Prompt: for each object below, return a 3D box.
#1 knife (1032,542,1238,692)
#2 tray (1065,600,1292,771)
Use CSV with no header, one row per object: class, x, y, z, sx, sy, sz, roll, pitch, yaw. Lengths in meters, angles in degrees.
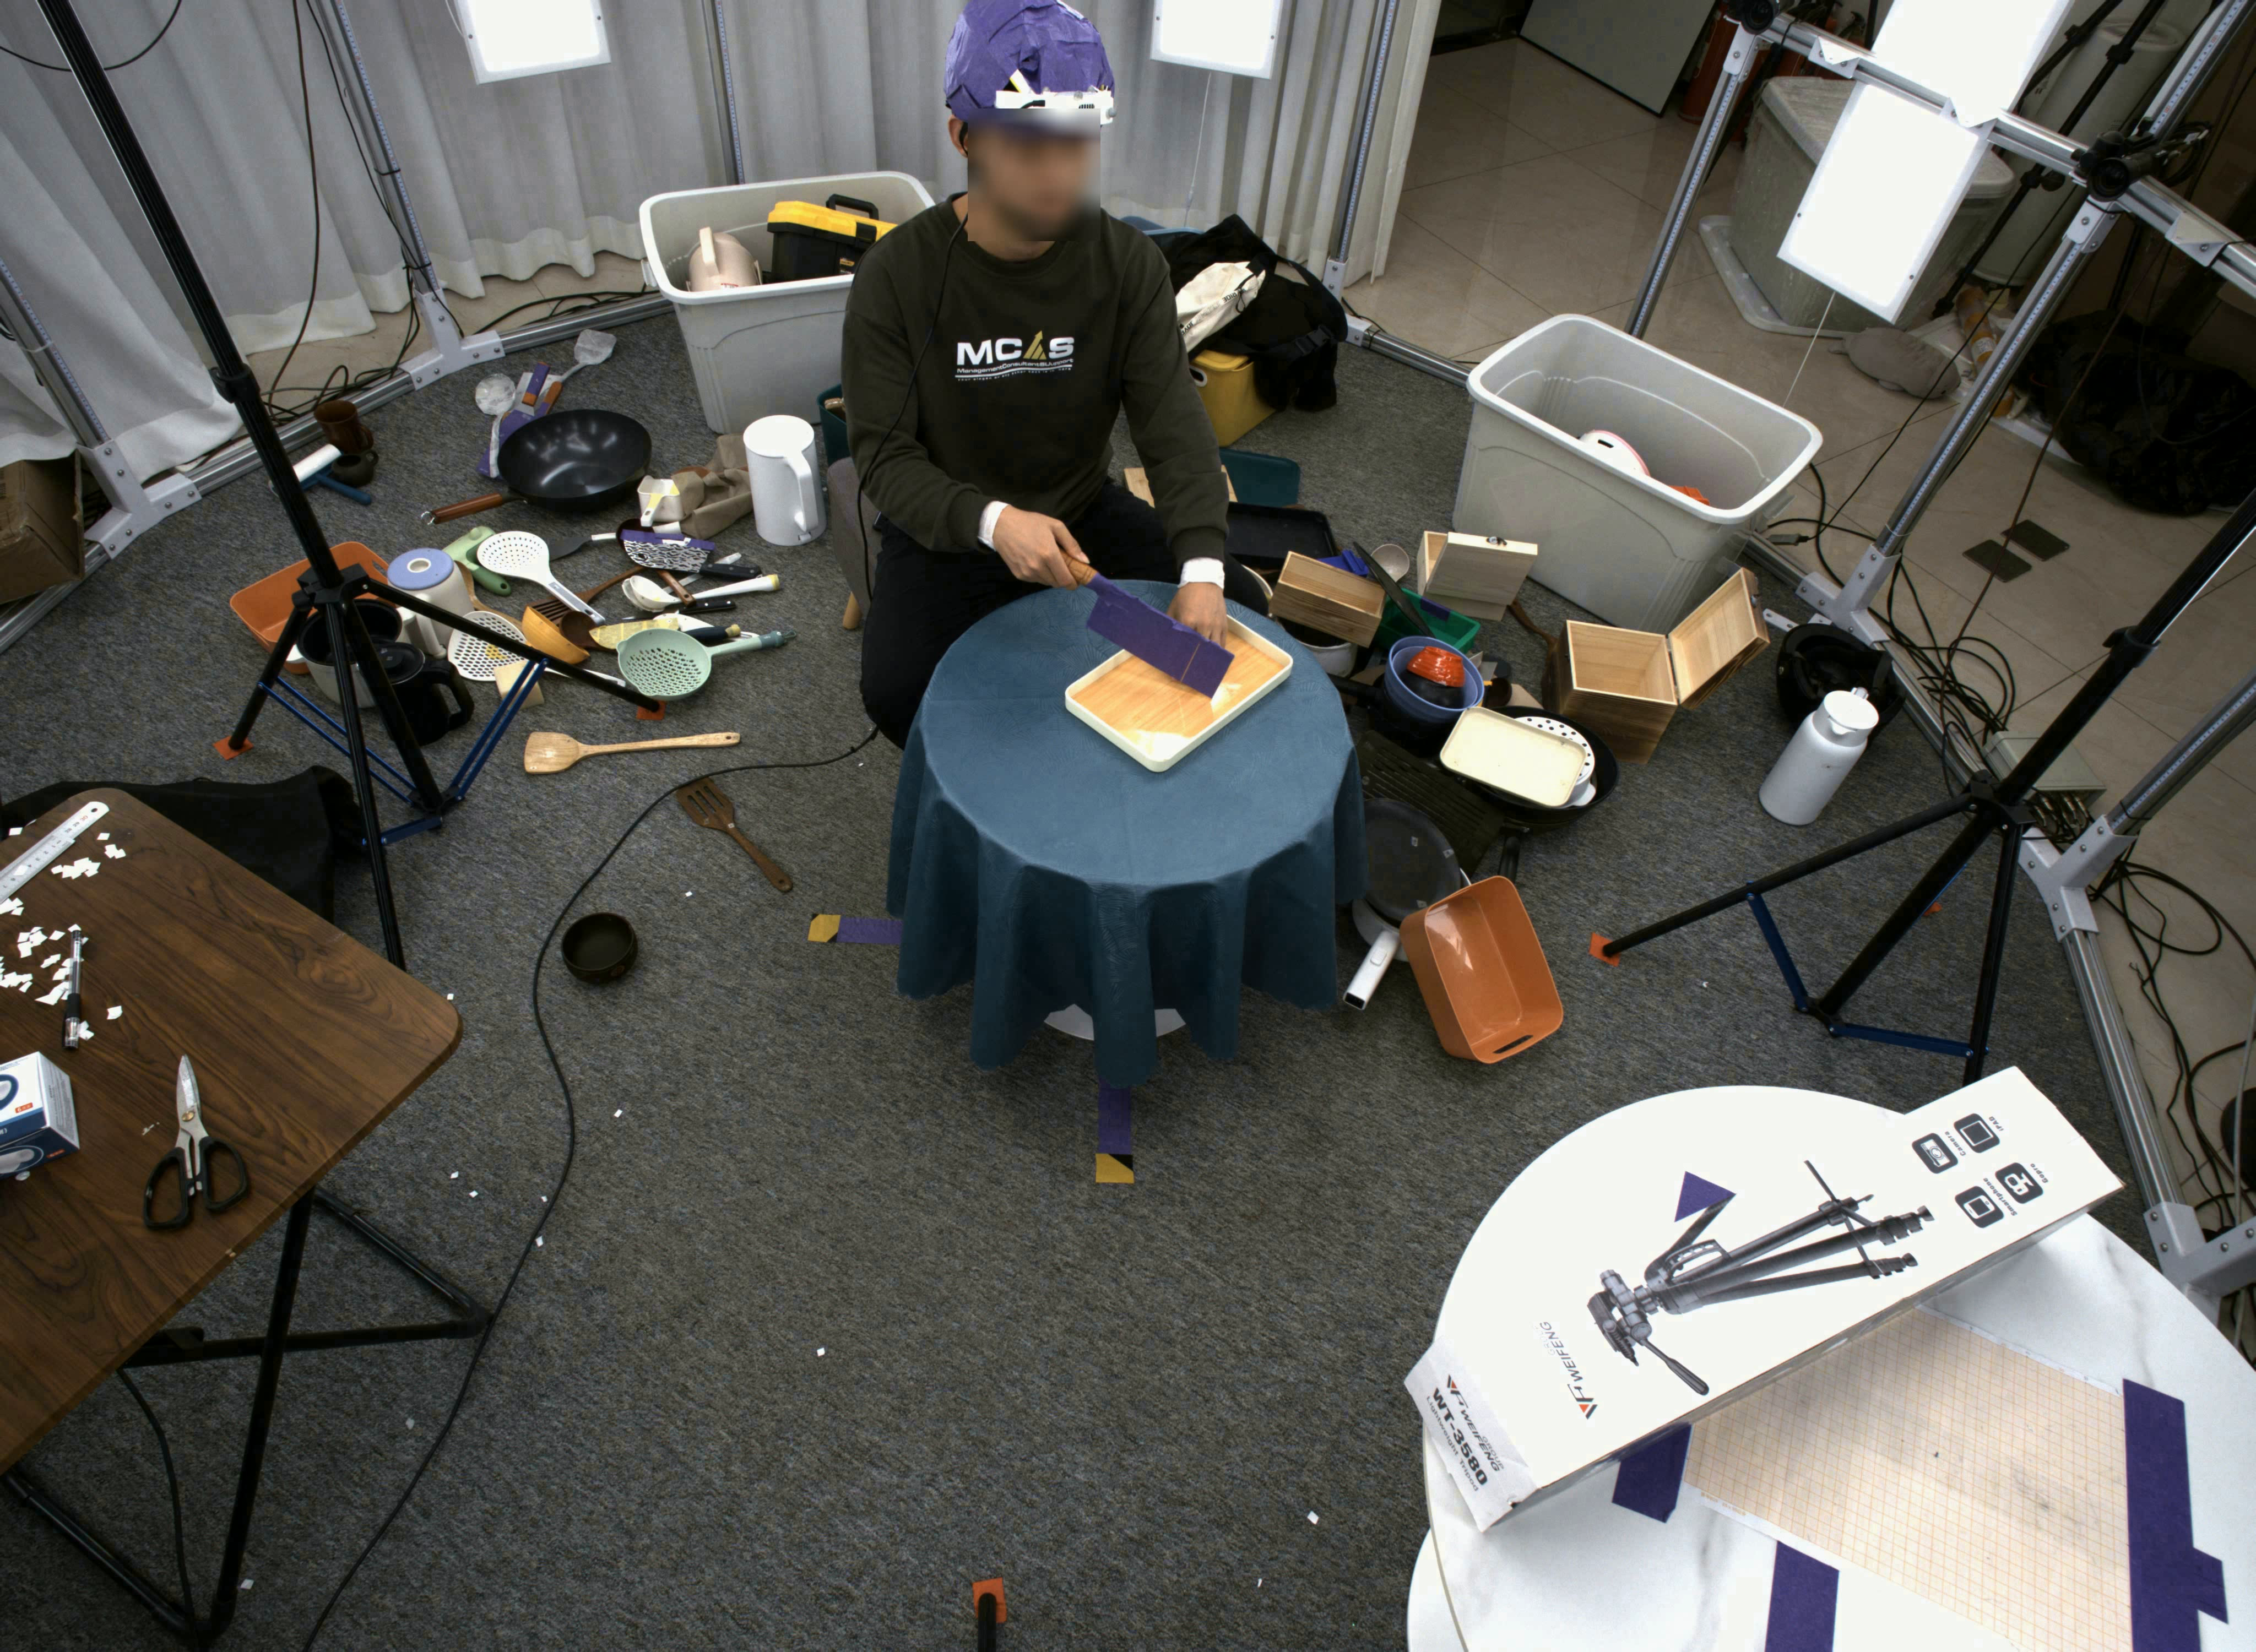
knife,-0.002,-0.283,1.787,0.316,0.102,0.033,31,44,4
tray,0.075,-0.207,1.835,0.194,0.027,0.303,37,56,25
